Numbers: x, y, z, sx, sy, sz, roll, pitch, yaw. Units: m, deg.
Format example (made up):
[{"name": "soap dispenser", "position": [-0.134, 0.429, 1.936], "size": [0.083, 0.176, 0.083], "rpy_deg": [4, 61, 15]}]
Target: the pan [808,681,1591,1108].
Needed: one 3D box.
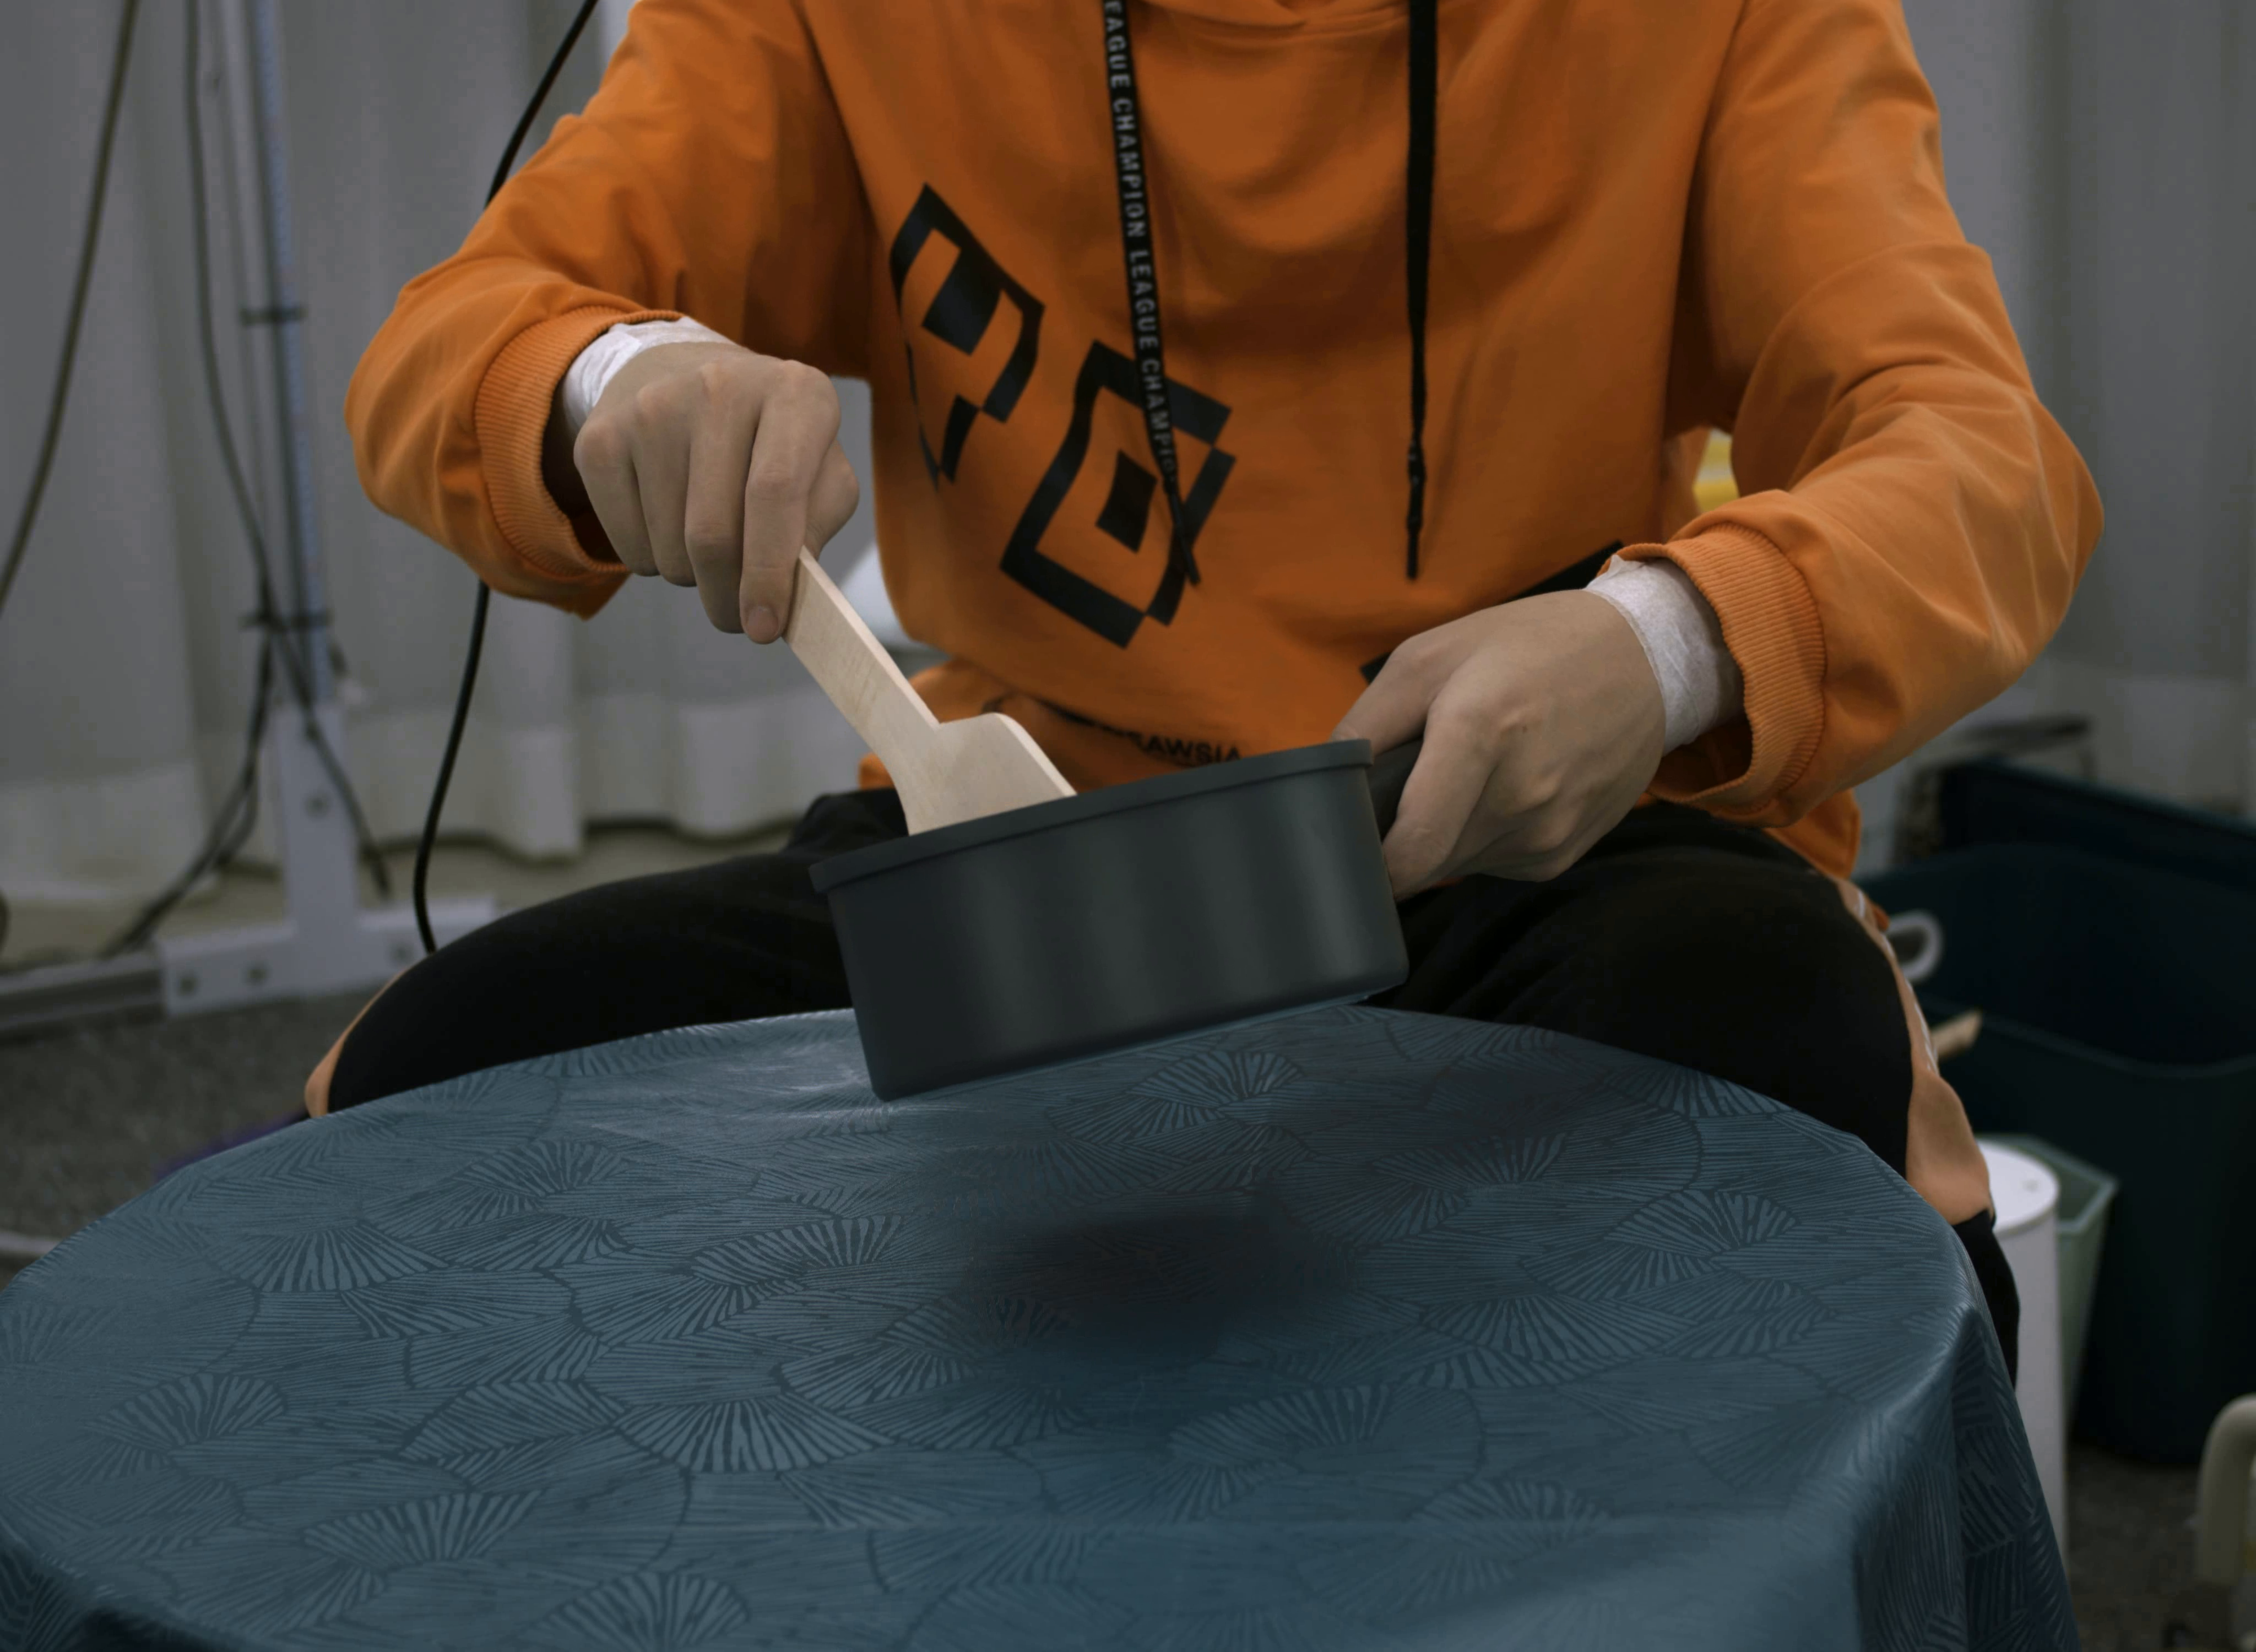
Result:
[{"name": "pan", "position": [0.045, 0.017, 1.679], "size": [0.172, 0.087, 0.328], "rpy_deg": [-14, -1, 40]}]

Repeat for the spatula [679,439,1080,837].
[{"name": "spatula", "position": [-0.079, -0.041, 1.693], "size": [0.010, 0.072, 0.297], "rpy_deg": [4, 30, -33]}]
